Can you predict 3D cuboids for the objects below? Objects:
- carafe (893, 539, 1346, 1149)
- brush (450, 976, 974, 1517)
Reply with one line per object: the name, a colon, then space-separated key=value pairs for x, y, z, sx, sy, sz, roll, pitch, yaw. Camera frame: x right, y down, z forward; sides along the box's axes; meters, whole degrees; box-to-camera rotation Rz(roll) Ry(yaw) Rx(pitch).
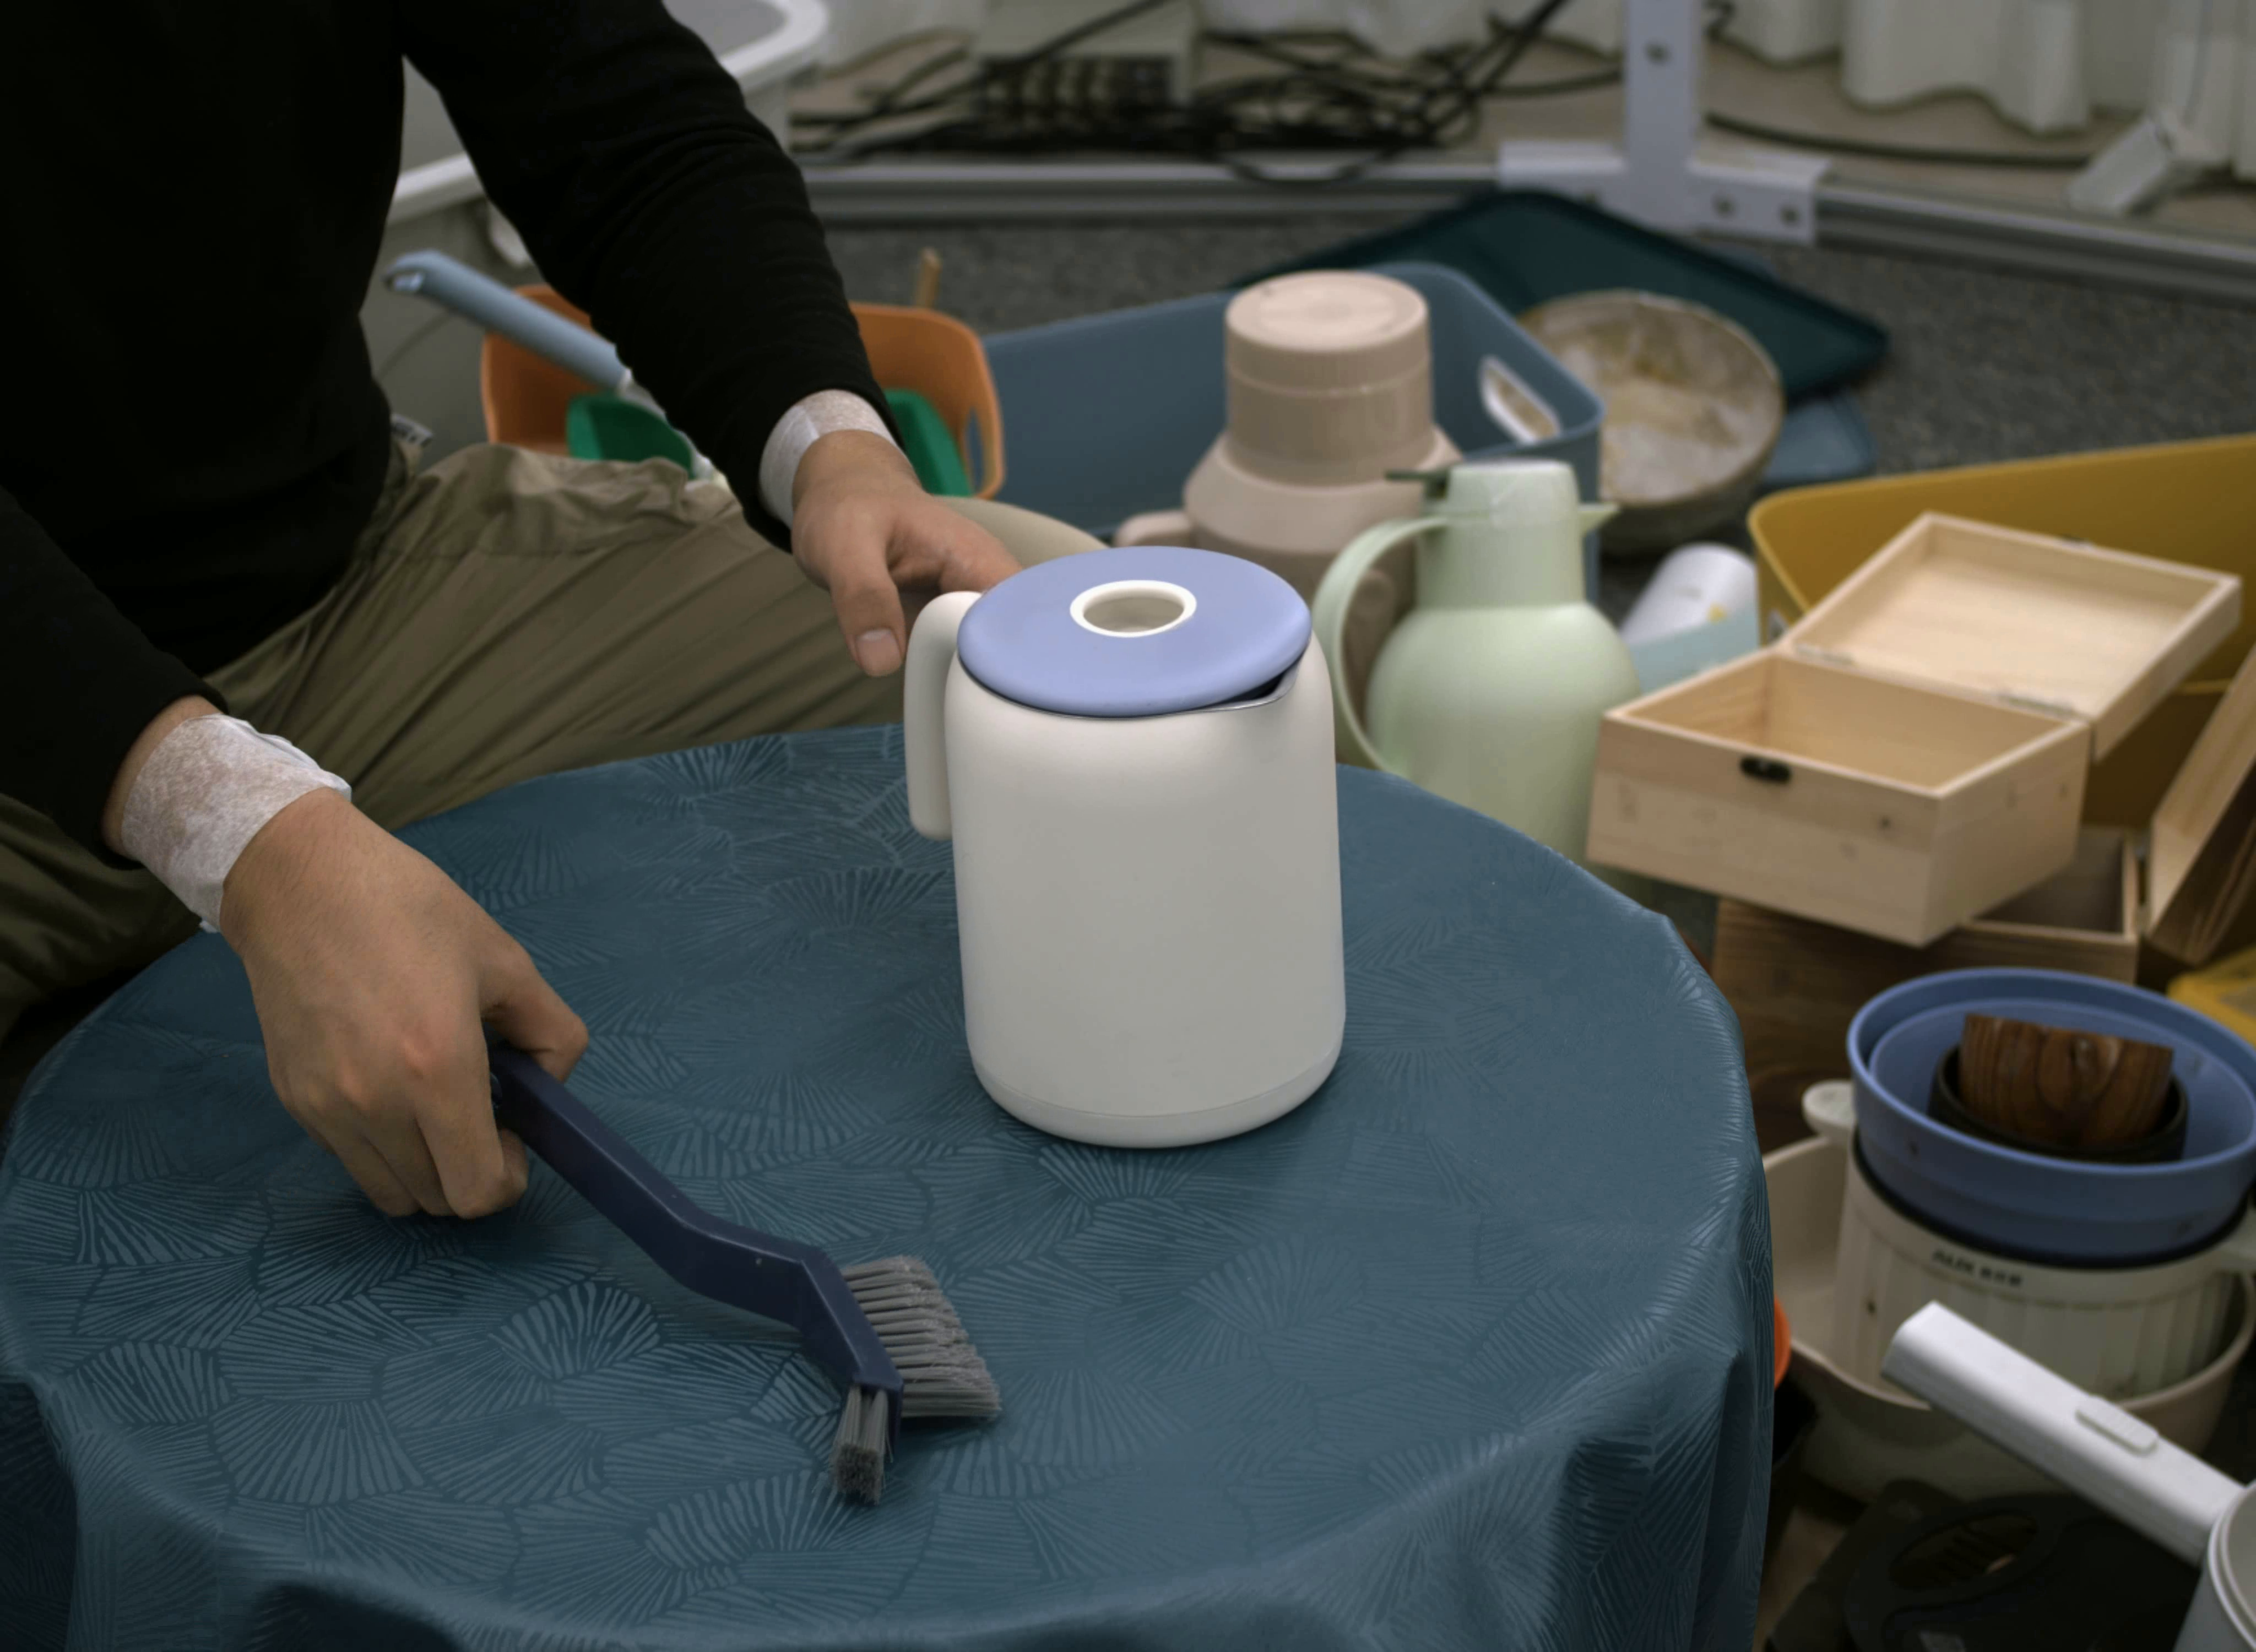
carafe: x=-0.011 y=-0.002 z=1.916 sx=0.134 sy=0.181 sz=0.190 roll=-26 pitch=33 yaw=-38
brush: x=-0.153 y=0.130 z=1.803 sx=0.273 sy=0.033 sz=0.097 roll=29 pitch=41 yaw=36
